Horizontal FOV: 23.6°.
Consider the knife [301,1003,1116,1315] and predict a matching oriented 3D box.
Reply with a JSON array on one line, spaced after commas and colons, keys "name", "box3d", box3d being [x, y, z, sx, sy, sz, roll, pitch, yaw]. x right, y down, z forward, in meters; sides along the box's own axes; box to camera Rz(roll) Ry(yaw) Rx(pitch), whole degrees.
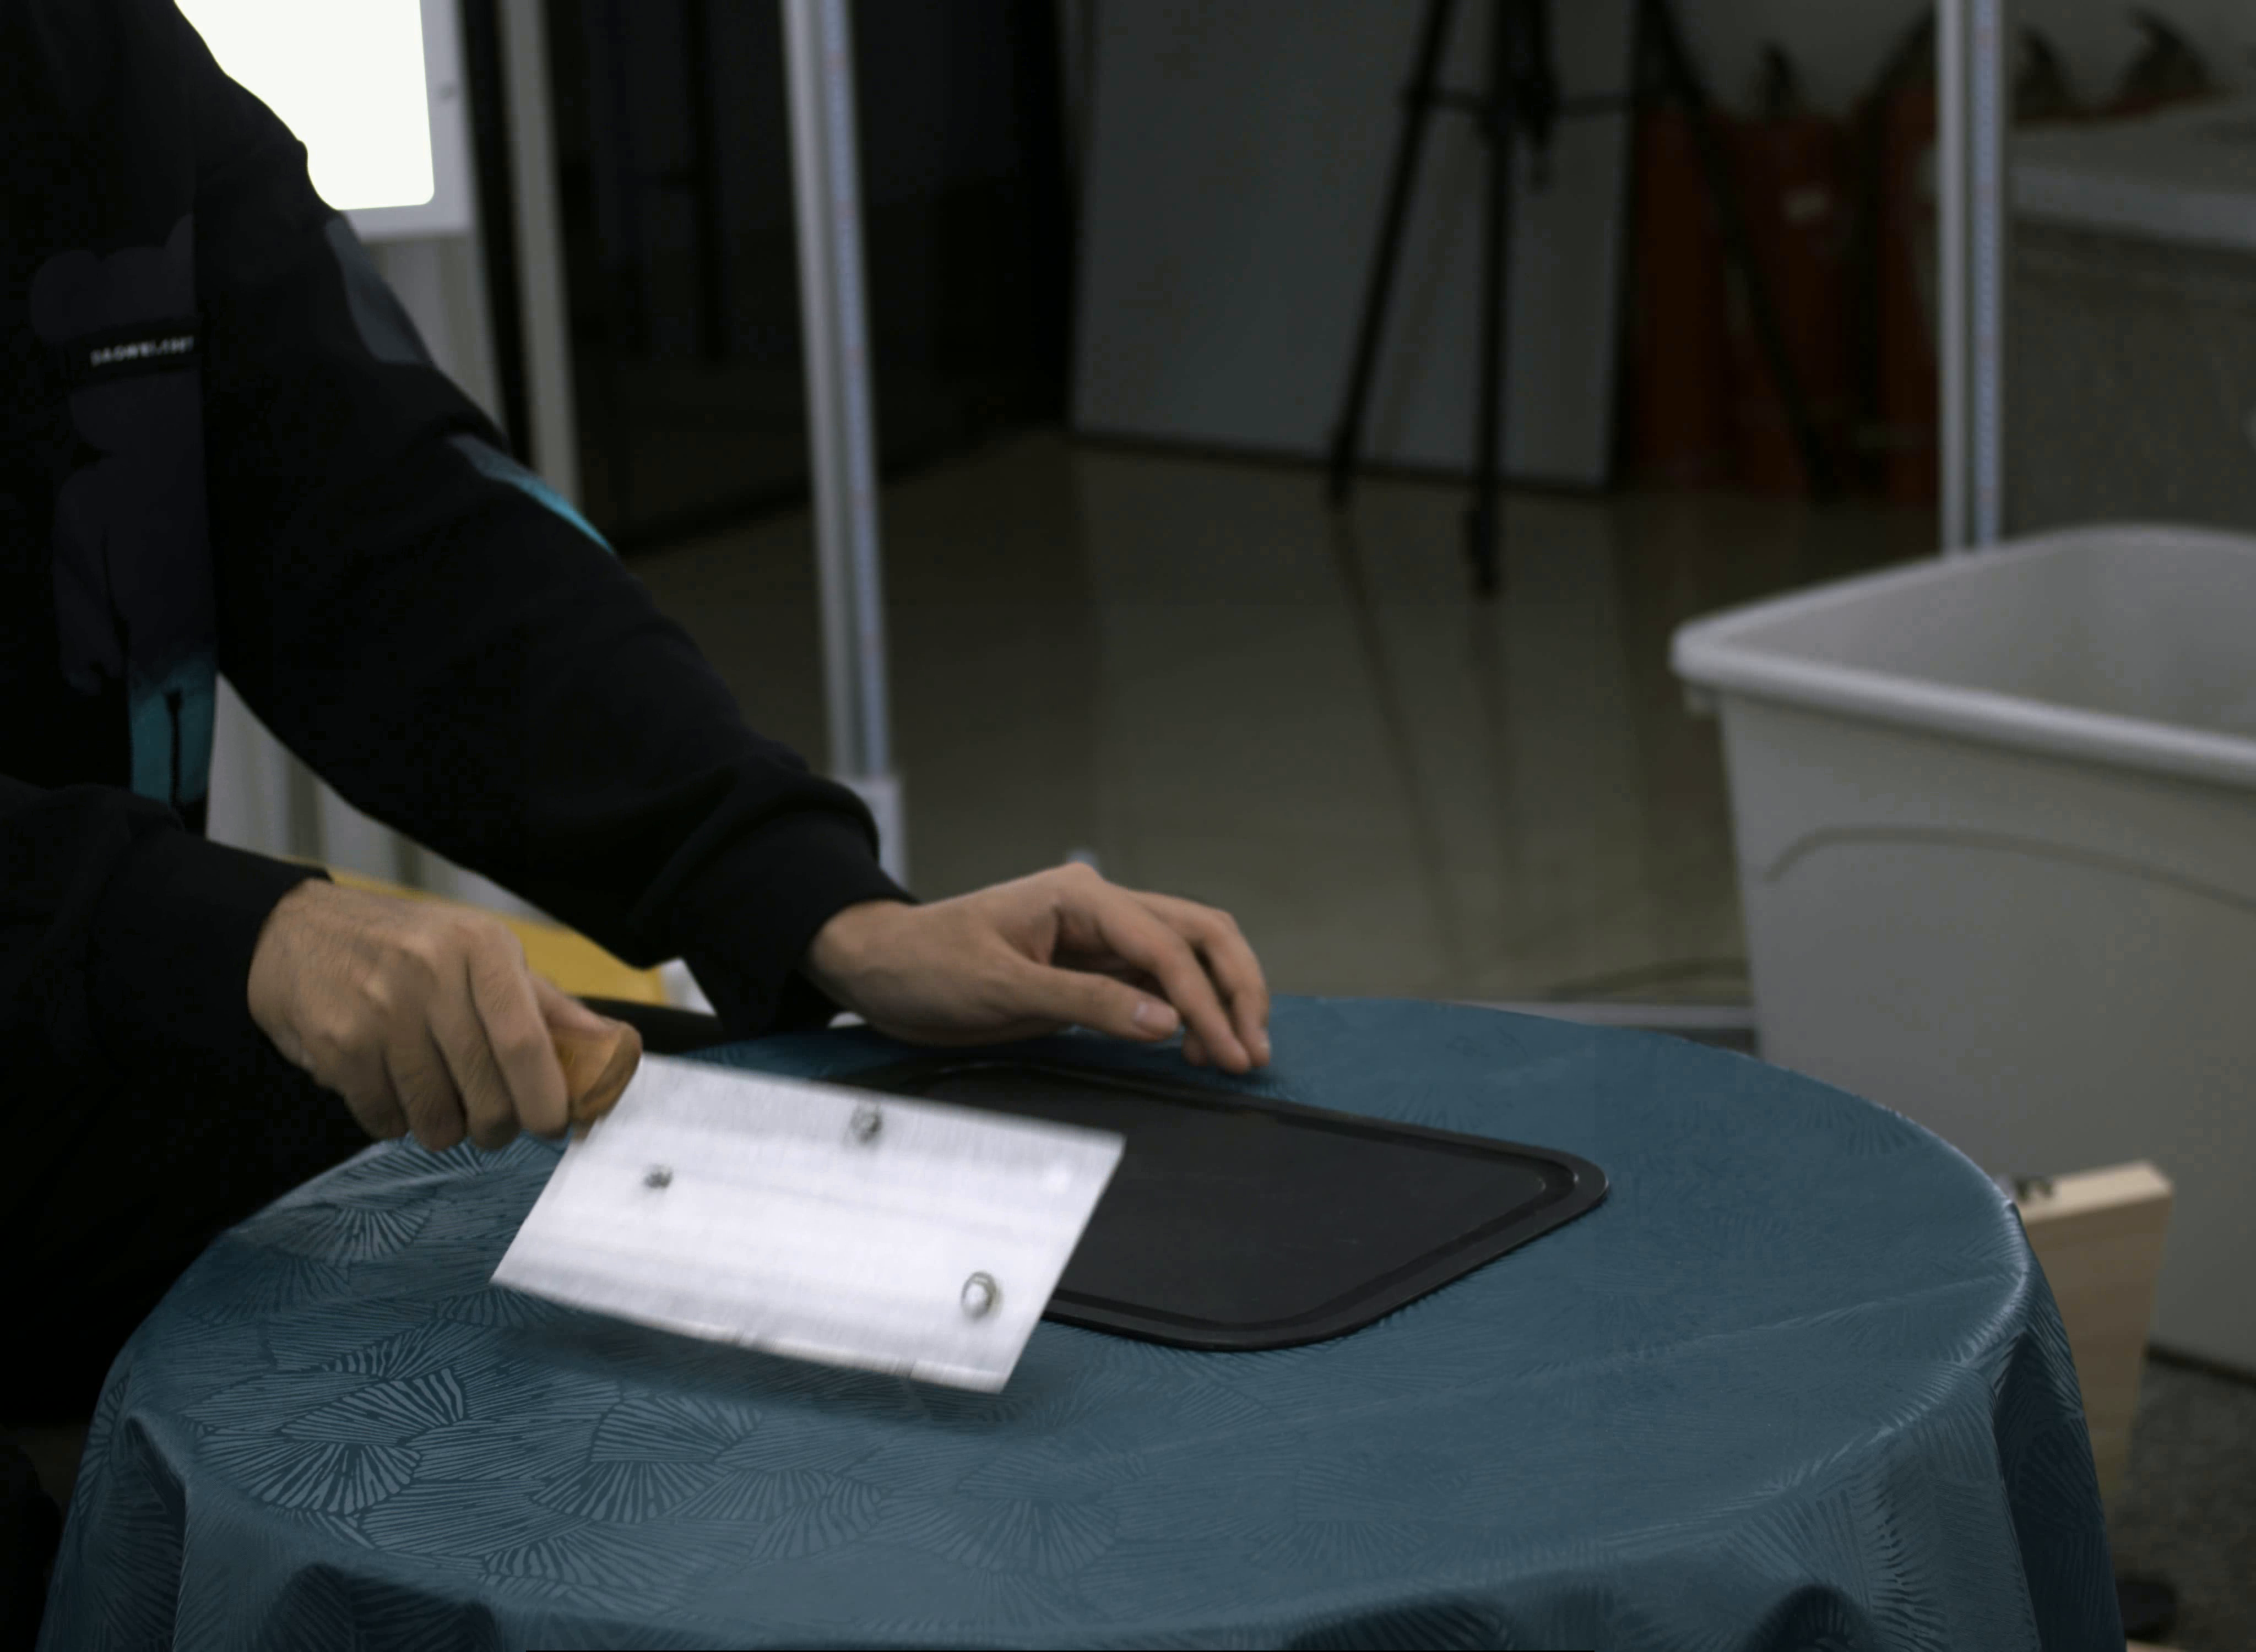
[{"name": "knife", "box3d": [-0.143, 0.104, 1.663, 0.307, 0.021, 0.093, 6, 56, 33]}]

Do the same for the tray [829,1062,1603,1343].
[{"name": "tray", "box3d": [-0.017, 0.118, 1.773, 0.328, 0.010, 0.207, 8, 18, 40]}]
